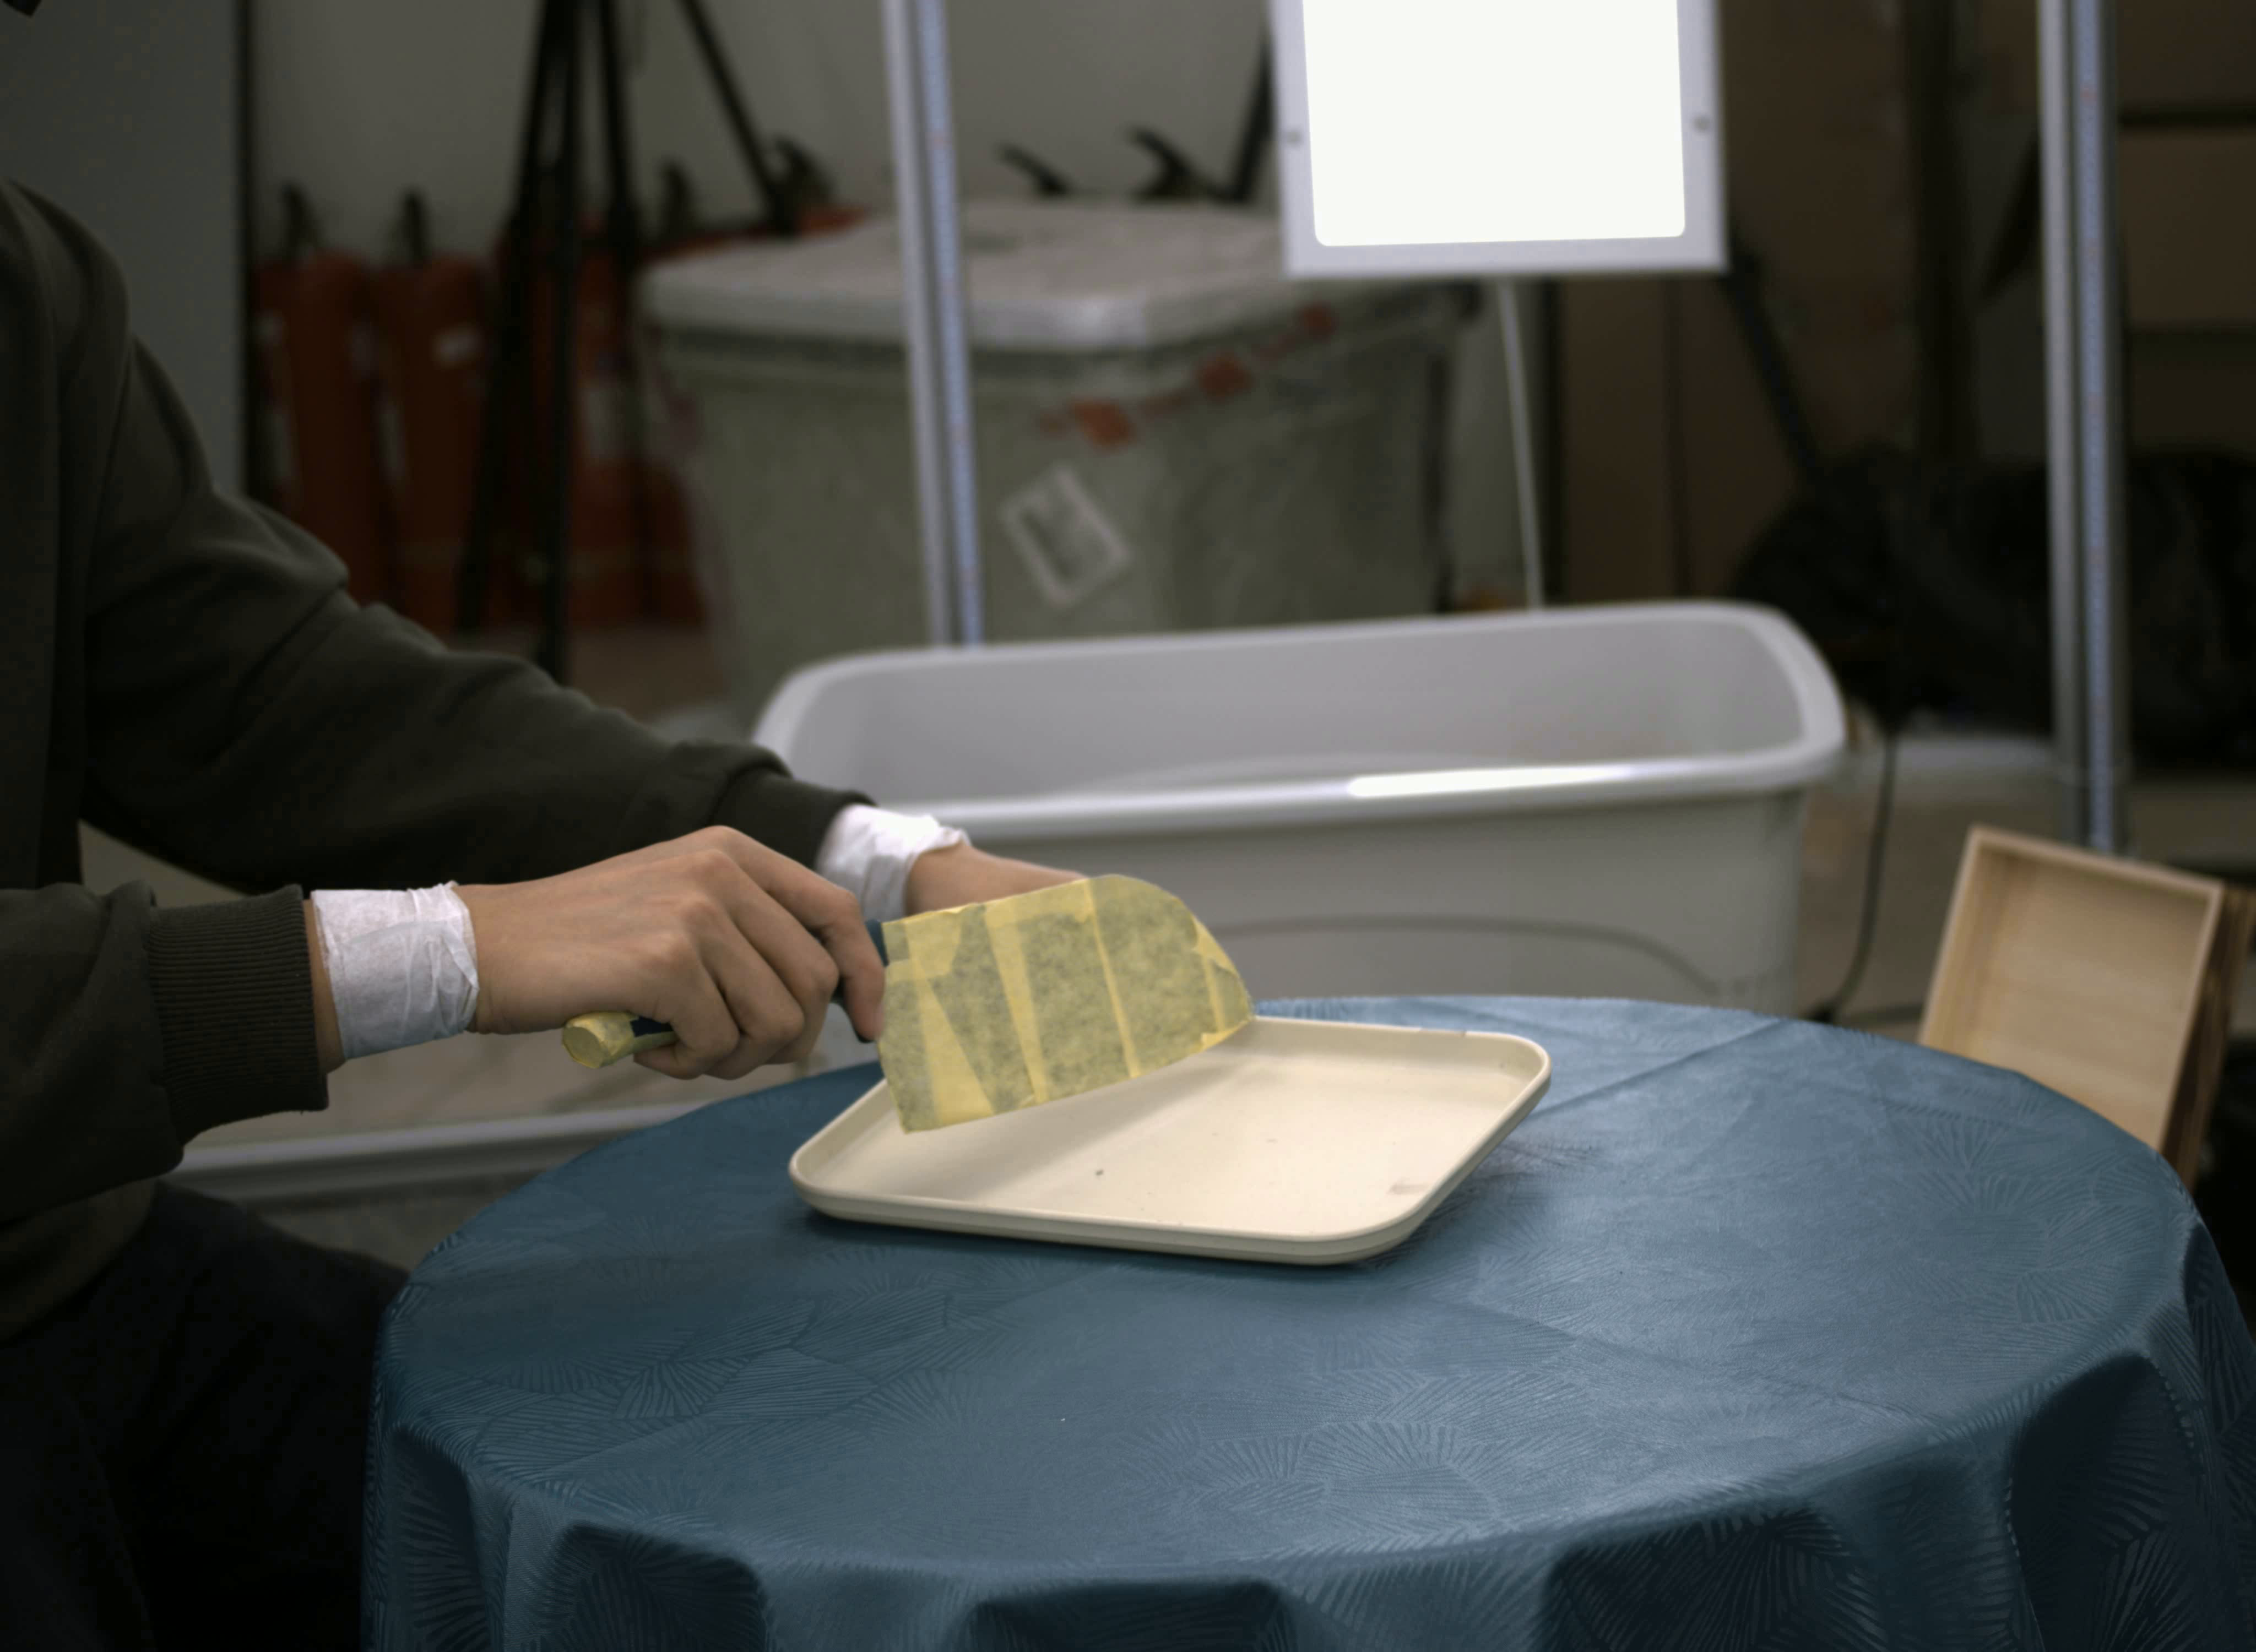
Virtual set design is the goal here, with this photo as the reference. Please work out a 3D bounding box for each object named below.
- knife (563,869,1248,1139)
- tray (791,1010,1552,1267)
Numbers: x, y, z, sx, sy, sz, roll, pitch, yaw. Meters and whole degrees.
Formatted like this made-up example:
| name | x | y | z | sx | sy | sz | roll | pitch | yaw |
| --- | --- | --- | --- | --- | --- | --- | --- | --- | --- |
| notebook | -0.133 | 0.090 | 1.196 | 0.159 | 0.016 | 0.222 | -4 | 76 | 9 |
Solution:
| name | x | y | z | sx | sy | sz | roll | pitch | yaw |
| --- | --- | --- | --- | --- | --- | --- | --- | --- | --- |
| knife | -0.068 | 0.065 | 1.876 | 0.282 | 0.081 | 0.028 | -9 | -9 | -37 |
| tray | 0.016 | 0.105 | 1.908 | 0.244 | 0.017 | 0.167 | 3 | 24 | 30 |
